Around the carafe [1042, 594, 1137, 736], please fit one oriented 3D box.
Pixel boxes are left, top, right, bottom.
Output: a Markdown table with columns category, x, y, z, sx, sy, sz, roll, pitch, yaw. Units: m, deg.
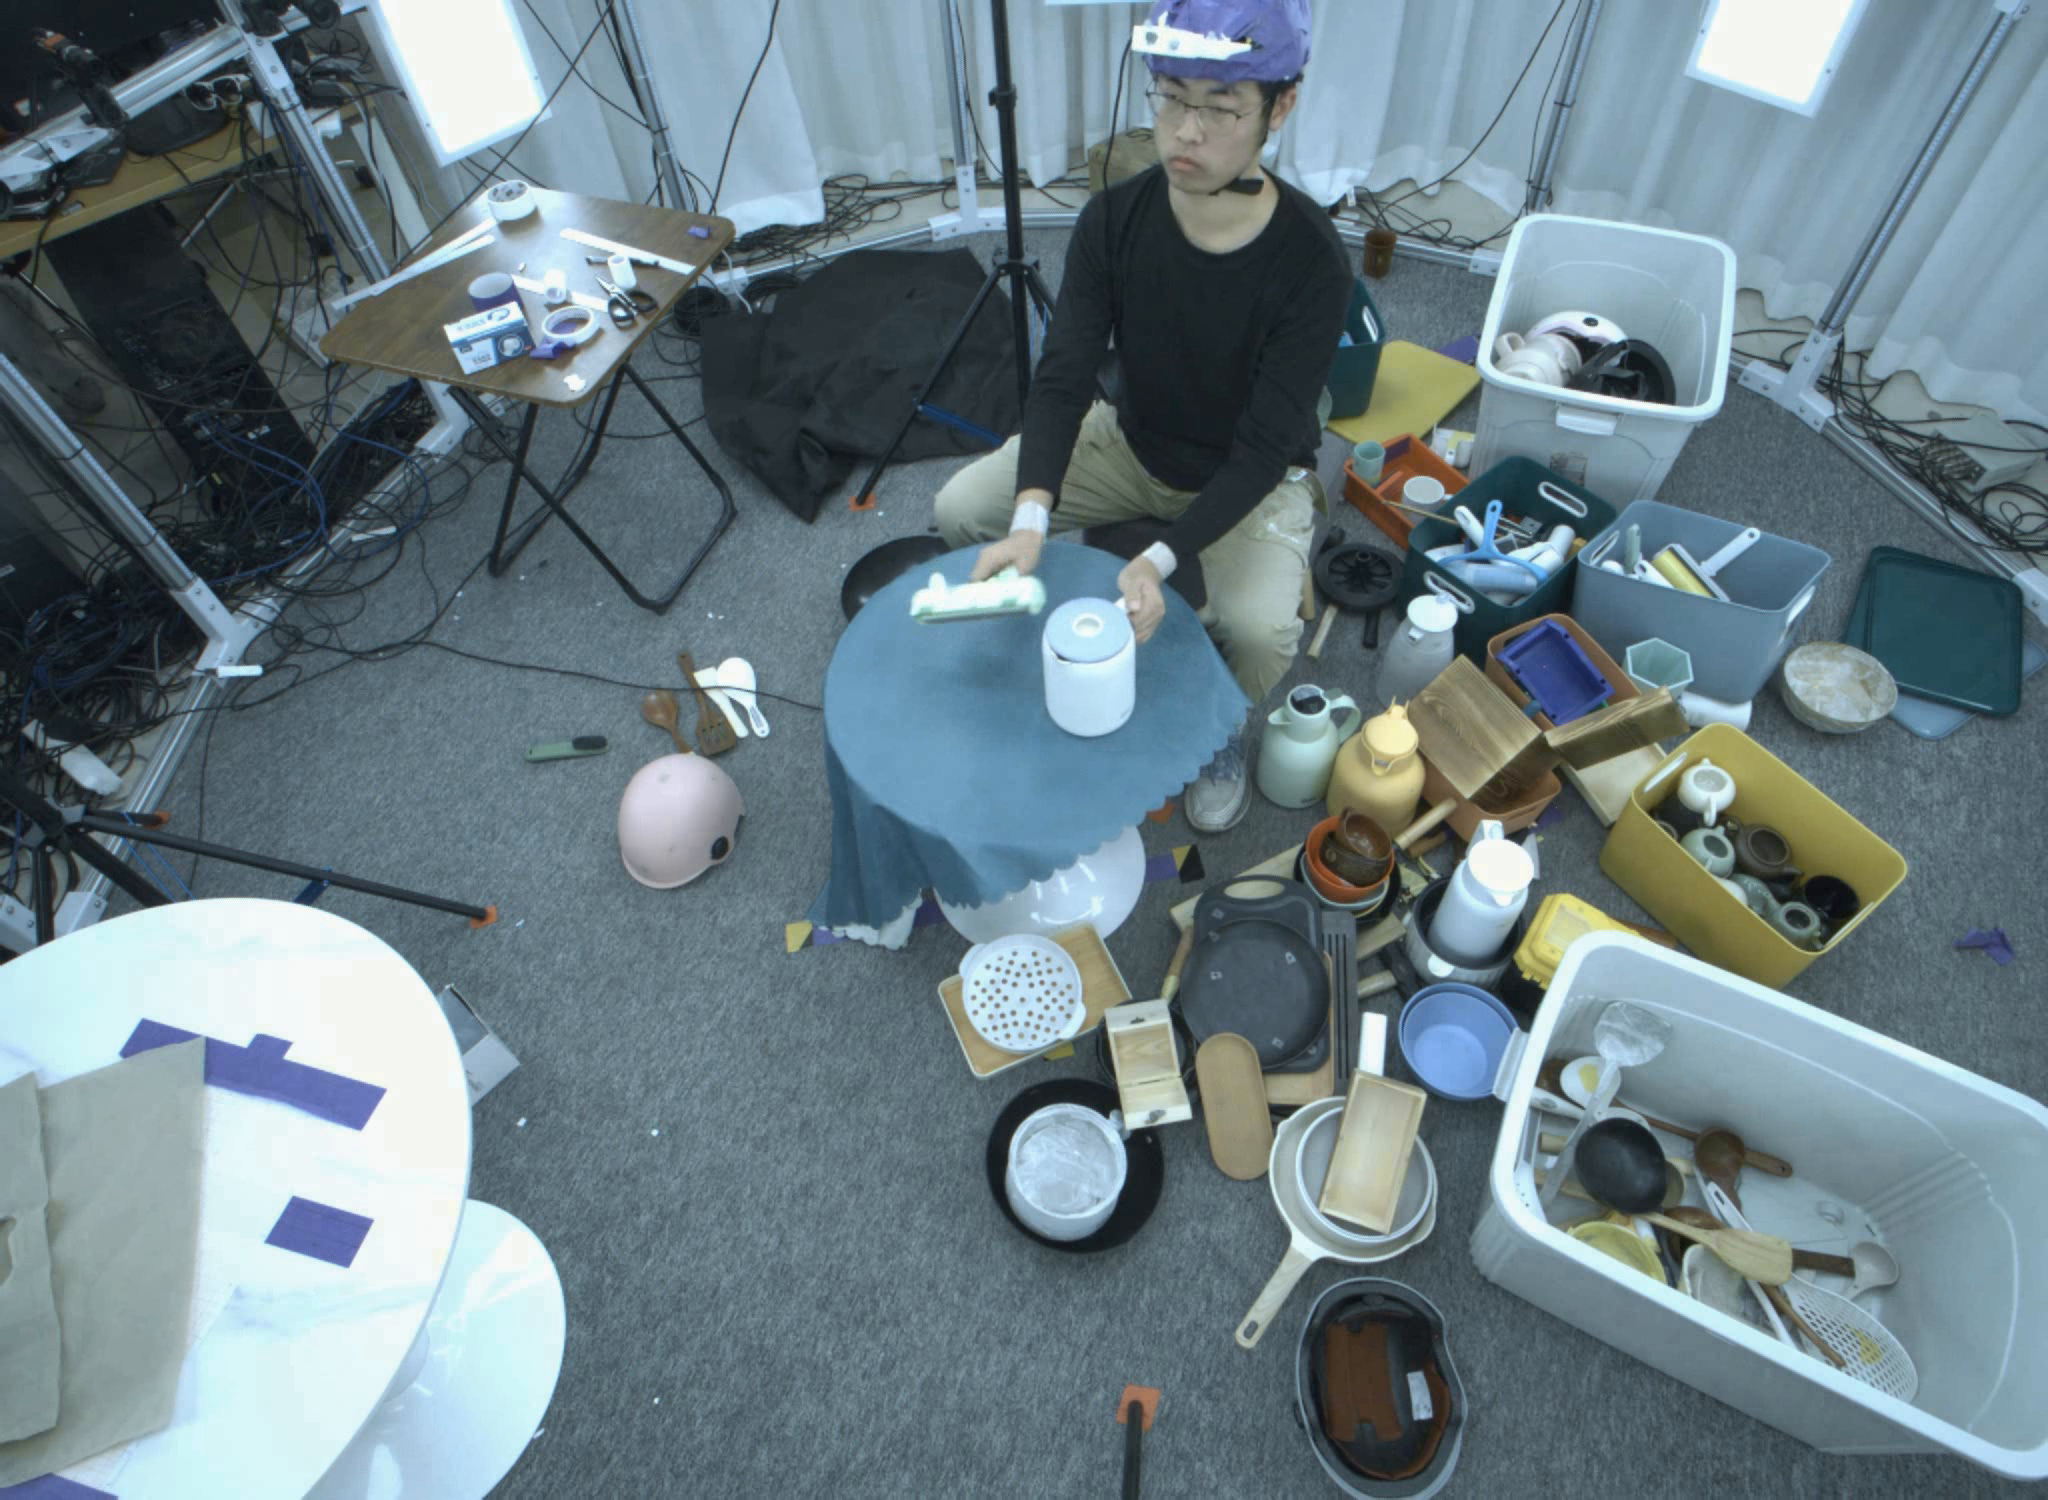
| category | x | y | z | sx | sy | sz | roll | pitch | yaw |
| --- | --- | --- | --- | --- | --- | --- | --- | --- | --- |
| carafe | 0.108 | -0.134 | 1.773 | 0.130 | 0.184 | 0.192 | 30 | 59 | 22 |

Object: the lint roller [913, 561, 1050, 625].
| category | x | y | z | sx | sy | sz | roll | pitch | yaw |
| --- | --- | --- | --- | --- | --- | --- | --- | --- | --- |
| lint roller | -0.047 | -0.254 | 1.804 | 0.196 | 0.083 | 0.183 | -4 | 33 | 23 |
